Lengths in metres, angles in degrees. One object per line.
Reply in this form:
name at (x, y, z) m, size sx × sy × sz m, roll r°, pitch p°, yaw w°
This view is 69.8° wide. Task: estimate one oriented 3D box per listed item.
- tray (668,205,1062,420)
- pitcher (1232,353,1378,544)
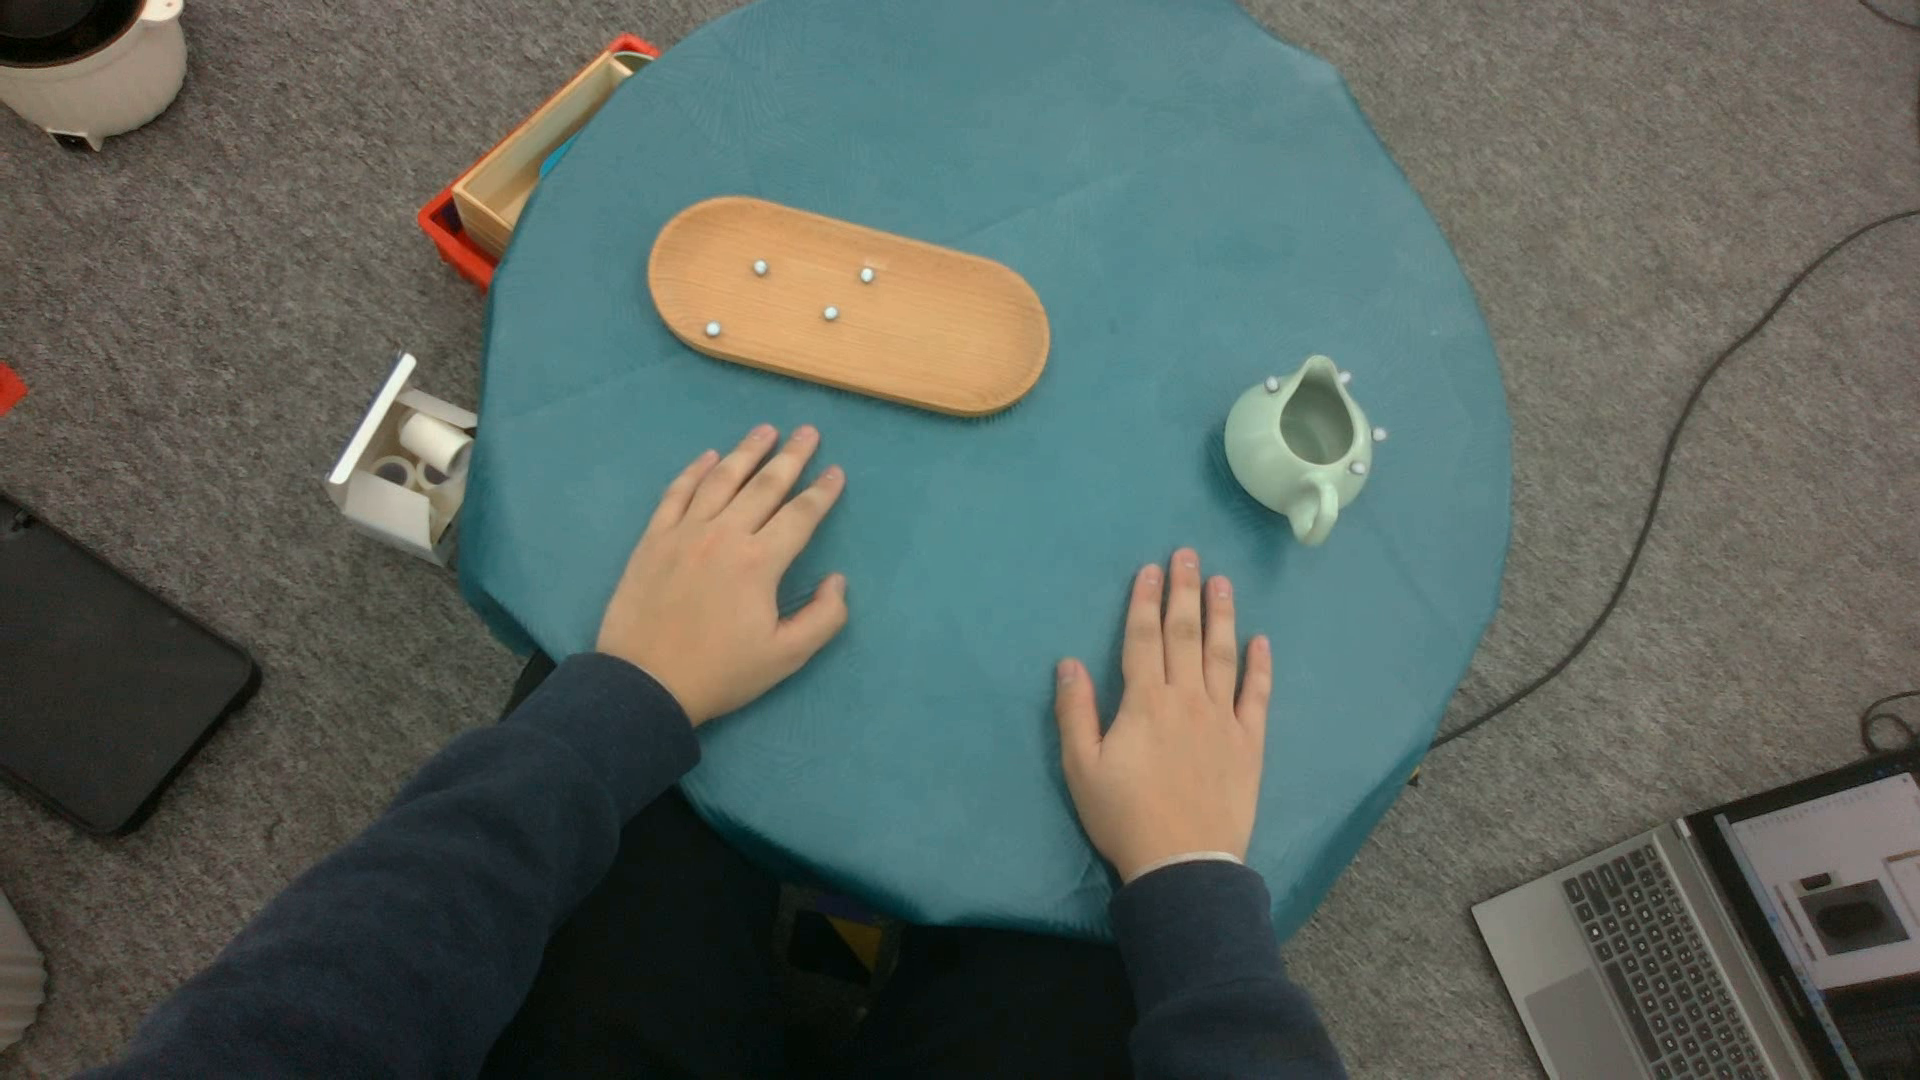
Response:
tray at (-0.054, -0.132, 0.803) m, size 0.231 × 0.020 × 0.102 m, roll 13°, pitch 71°, yaw -6°
pitcher at (0.201, -0.048, 0.790) m, size 0.086 × 0.060 × 0.108 m, roll 3°, pitch 73°, yaw -6°
